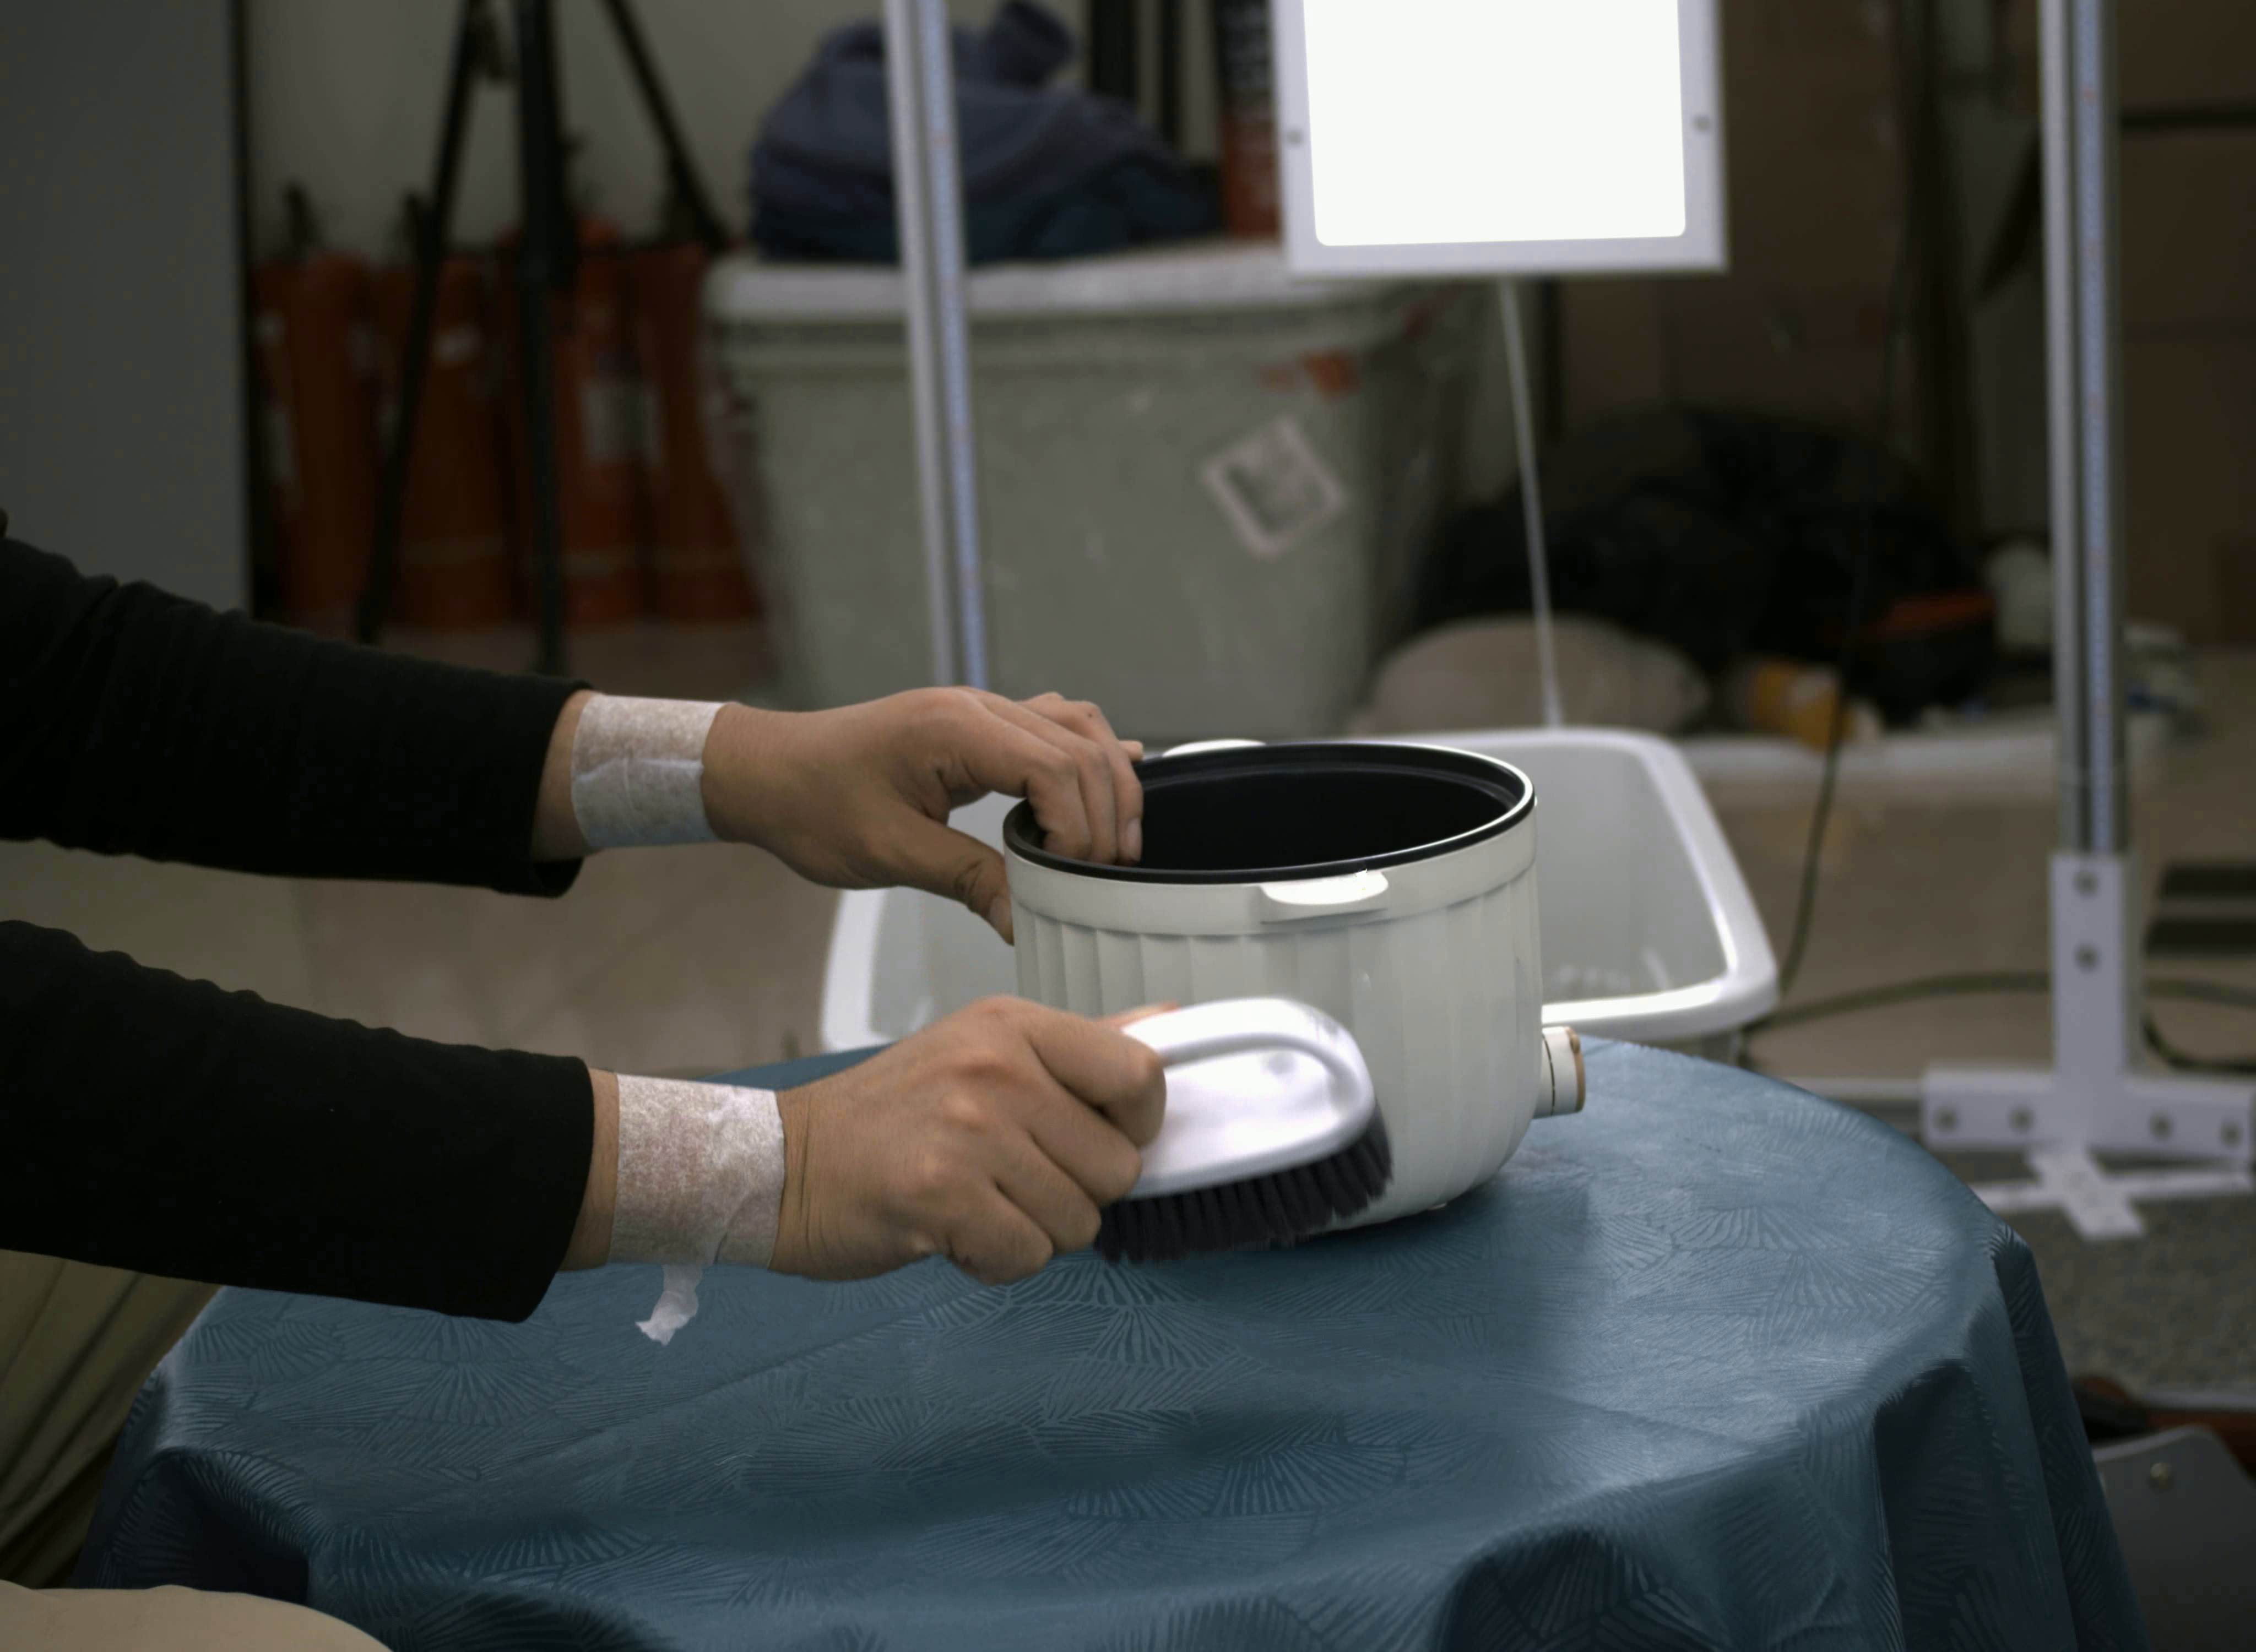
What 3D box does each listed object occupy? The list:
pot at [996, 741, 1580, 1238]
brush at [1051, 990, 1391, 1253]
[{"bbox_3d":[0.056,0.056,1.875,0.189,0.143,0.241,-9,15,-7],"label":"pot"},{"bbox_3d":[0.024,0.083,1.663,0.100,0.072,0.050,-13,39,9],"label":"brush"}]
